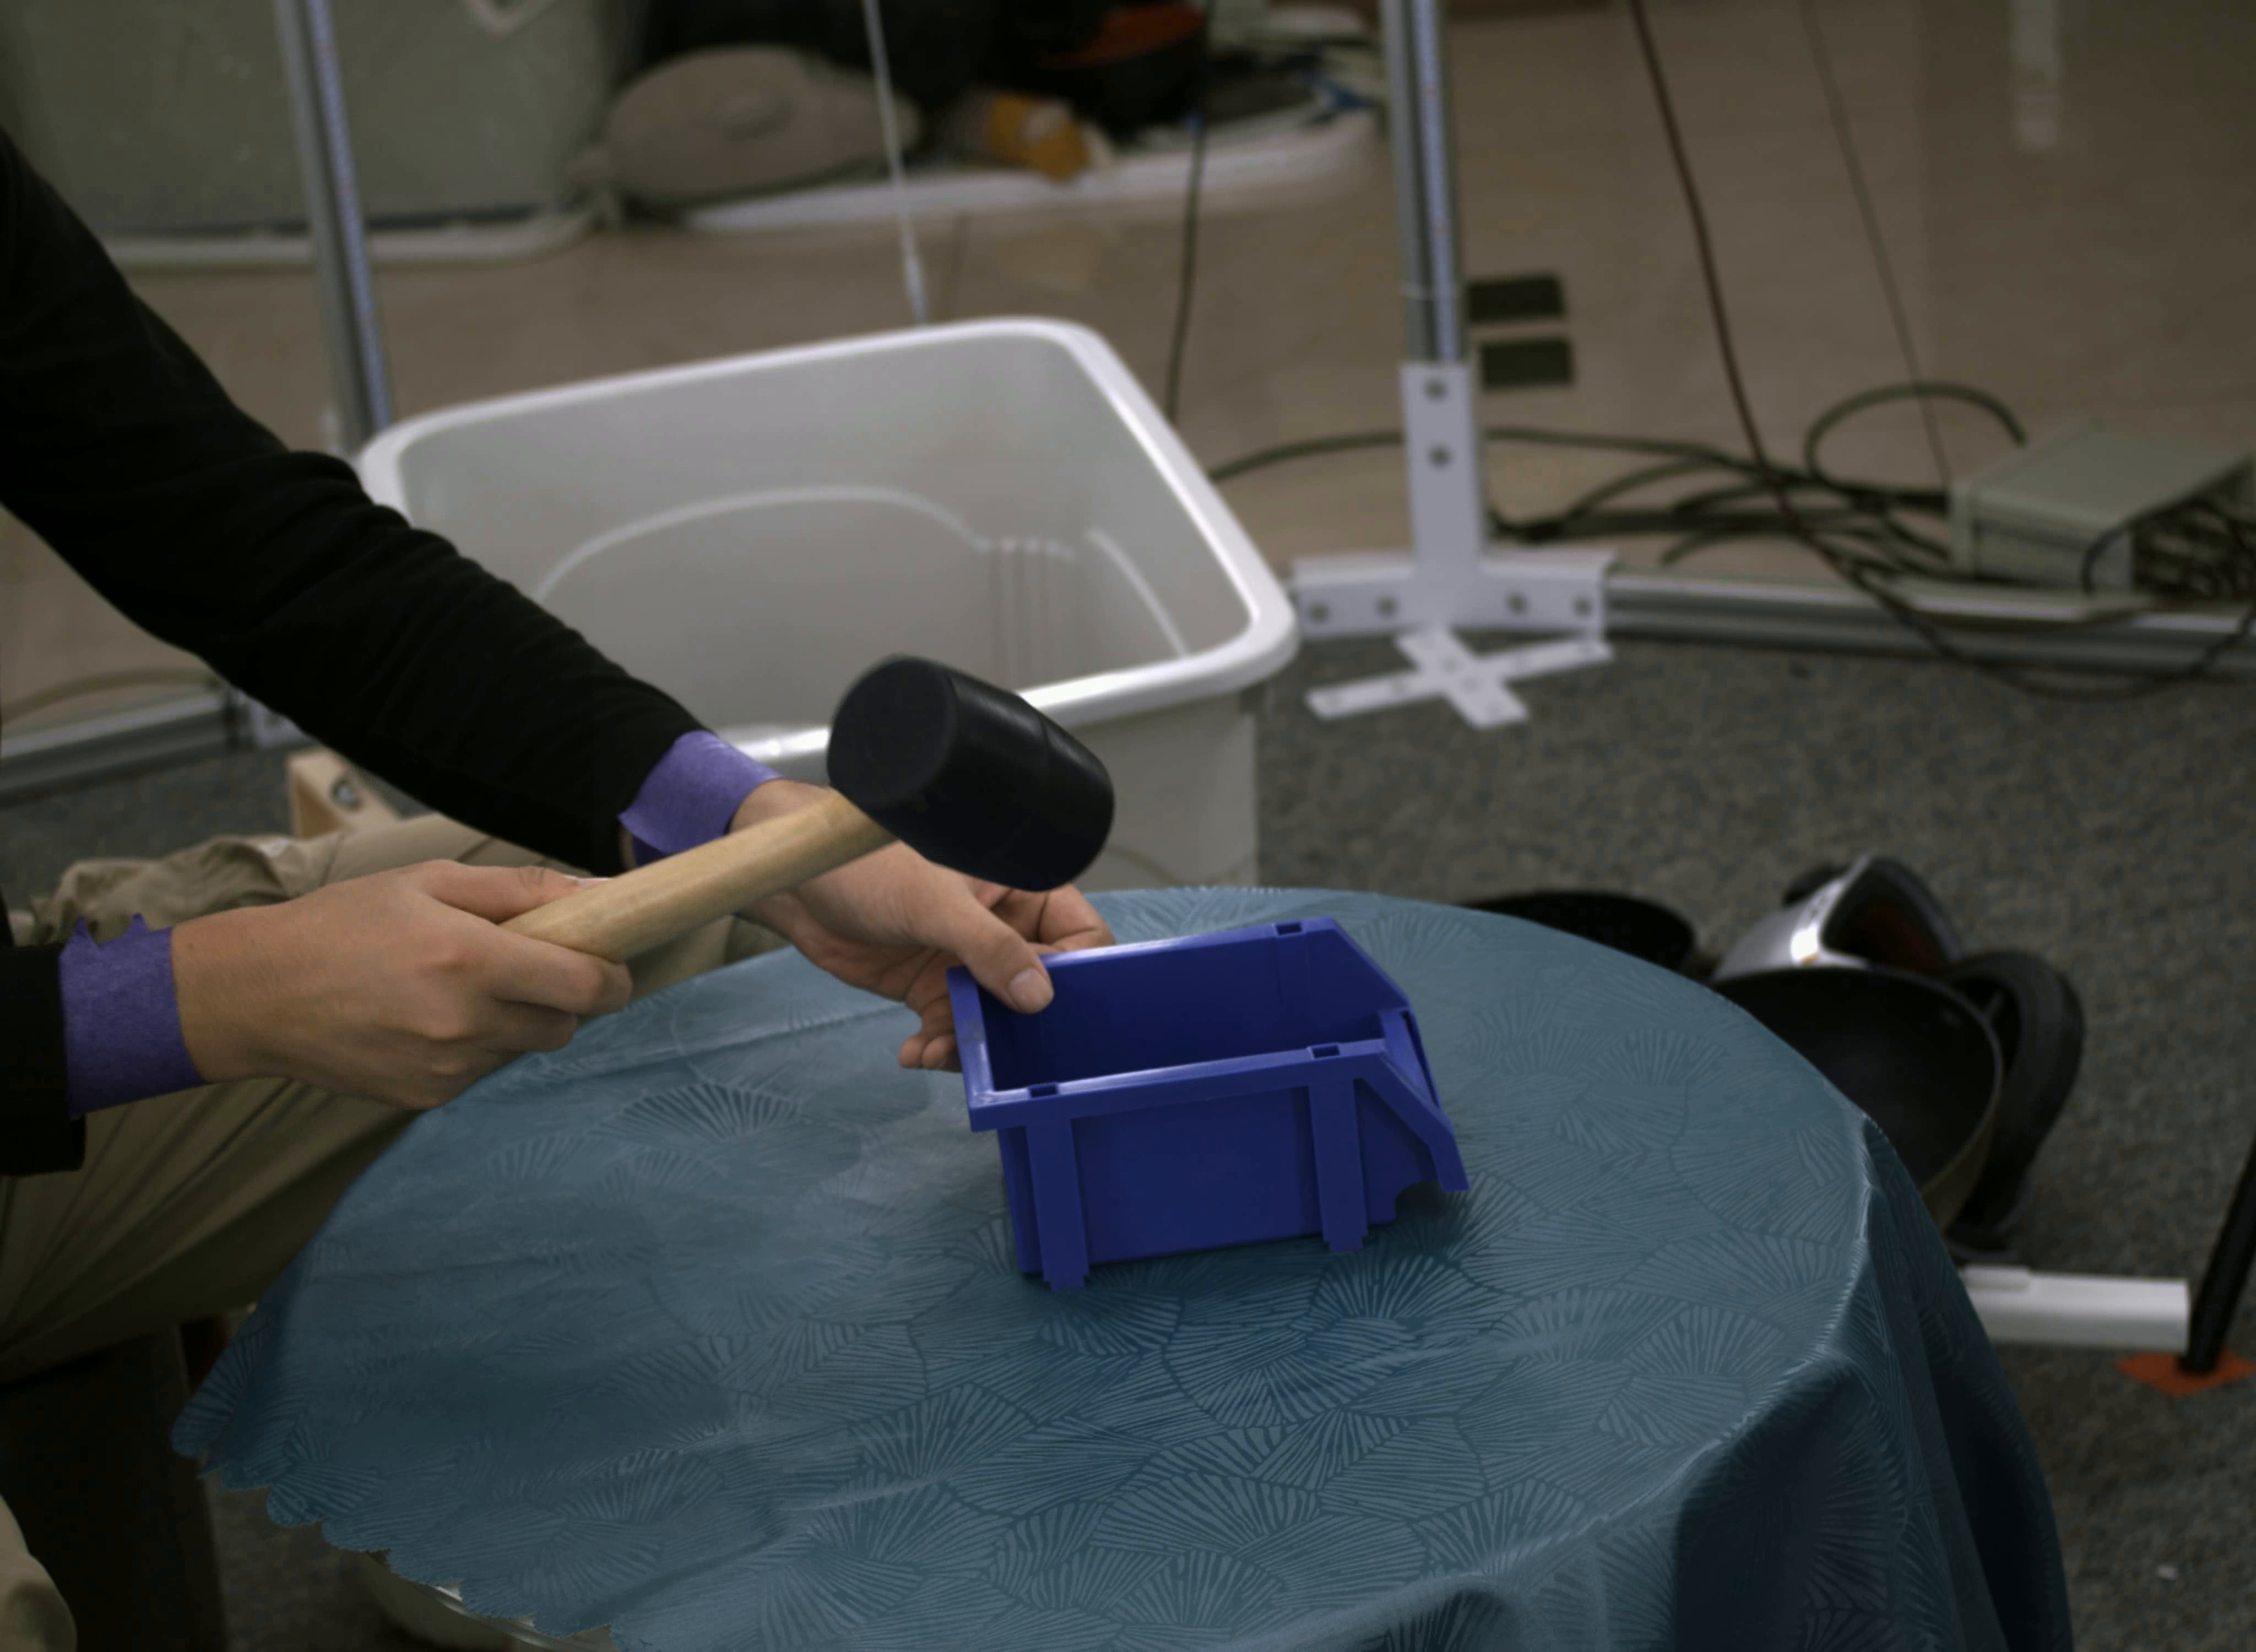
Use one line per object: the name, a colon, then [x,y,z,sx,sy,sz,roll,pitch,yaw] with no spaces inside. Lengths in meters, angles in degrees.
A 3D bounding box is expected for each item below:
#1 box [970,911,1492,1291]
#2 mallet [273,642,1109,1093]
box: [0.038,0.100,2.127,0.179,0.083,0.122,-10,25,0]
mallet: [-0.169,0.021,2.020,0.340,0.103,0.063,-20,56,30]
